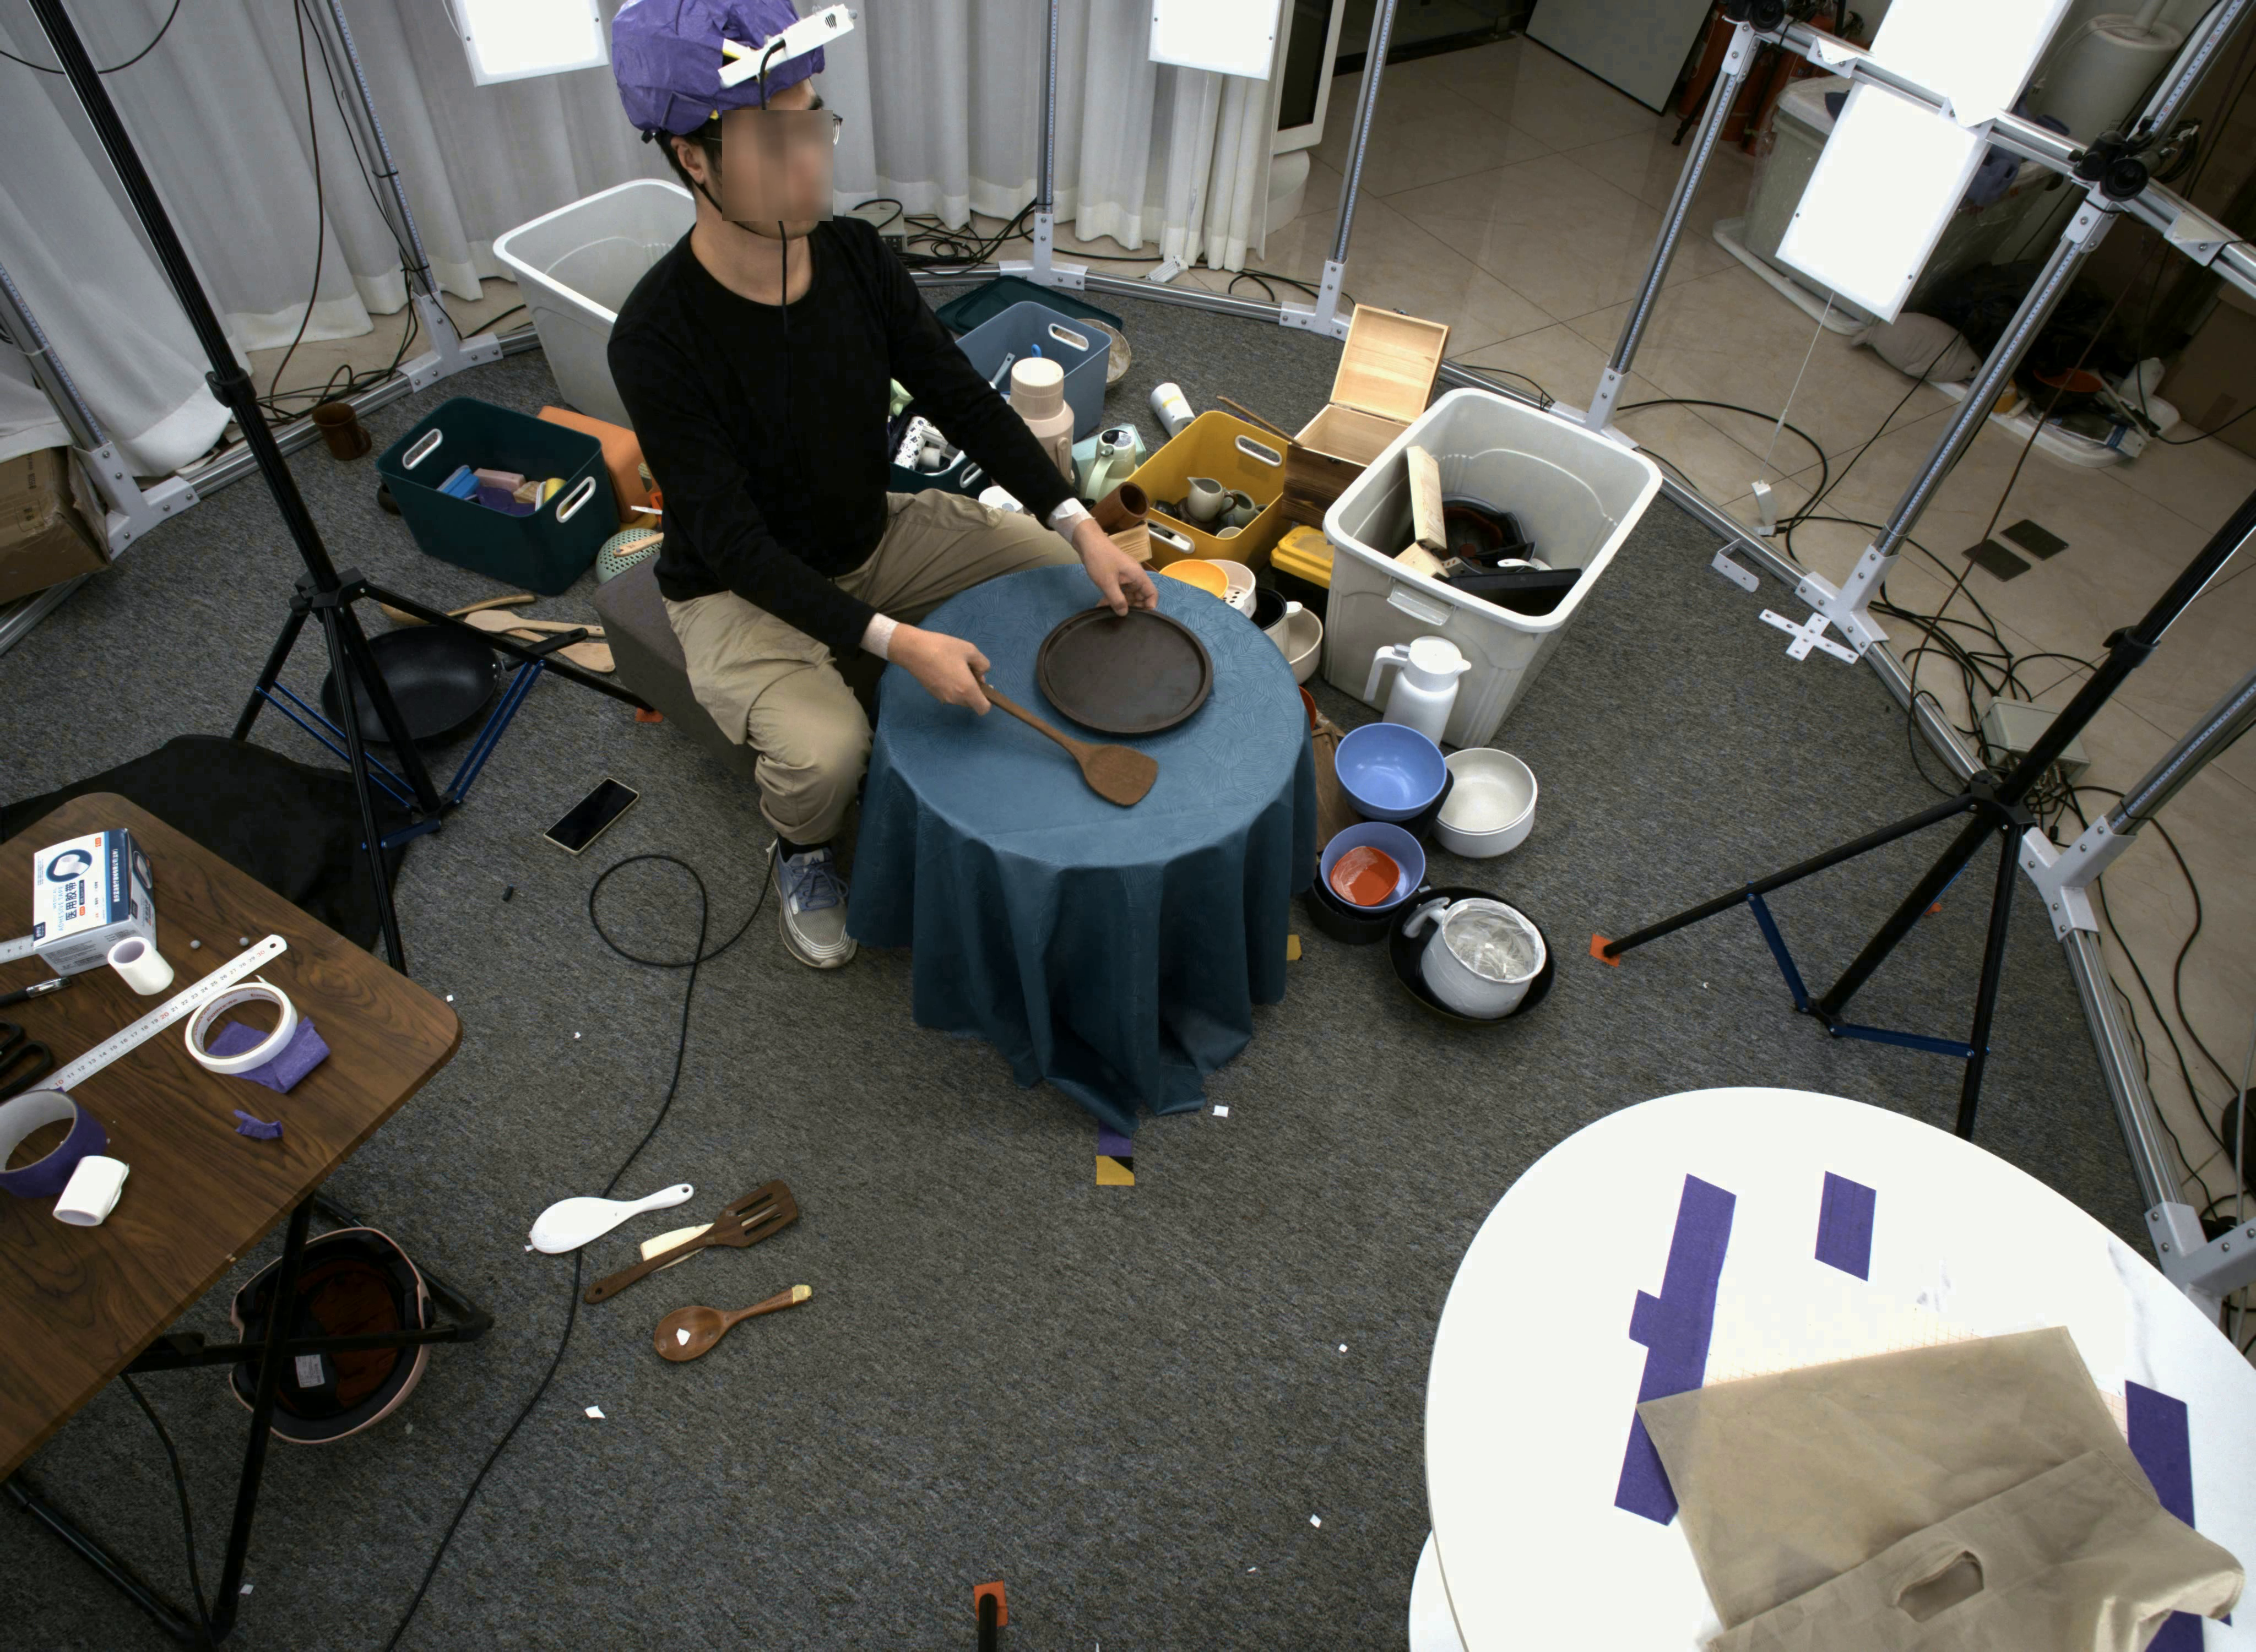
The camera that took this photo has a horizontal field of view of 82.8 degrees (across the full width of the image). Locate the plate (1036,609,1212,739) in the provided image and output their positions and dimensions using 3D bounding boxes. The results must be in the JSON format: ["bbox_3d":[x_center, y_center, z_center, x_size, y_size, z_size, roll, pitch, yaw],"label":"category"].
[{"bbox_3d":[-0.006,-0.221,1.843,0.254,0.028,0.261,2,52,-3],"label":"plate"}]

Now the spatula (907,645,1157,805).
[{"bbox_3d":[-0.136,-0.146,1.740,0.387,0.015,0.097,31,53,7],"label":"spatula"}]
